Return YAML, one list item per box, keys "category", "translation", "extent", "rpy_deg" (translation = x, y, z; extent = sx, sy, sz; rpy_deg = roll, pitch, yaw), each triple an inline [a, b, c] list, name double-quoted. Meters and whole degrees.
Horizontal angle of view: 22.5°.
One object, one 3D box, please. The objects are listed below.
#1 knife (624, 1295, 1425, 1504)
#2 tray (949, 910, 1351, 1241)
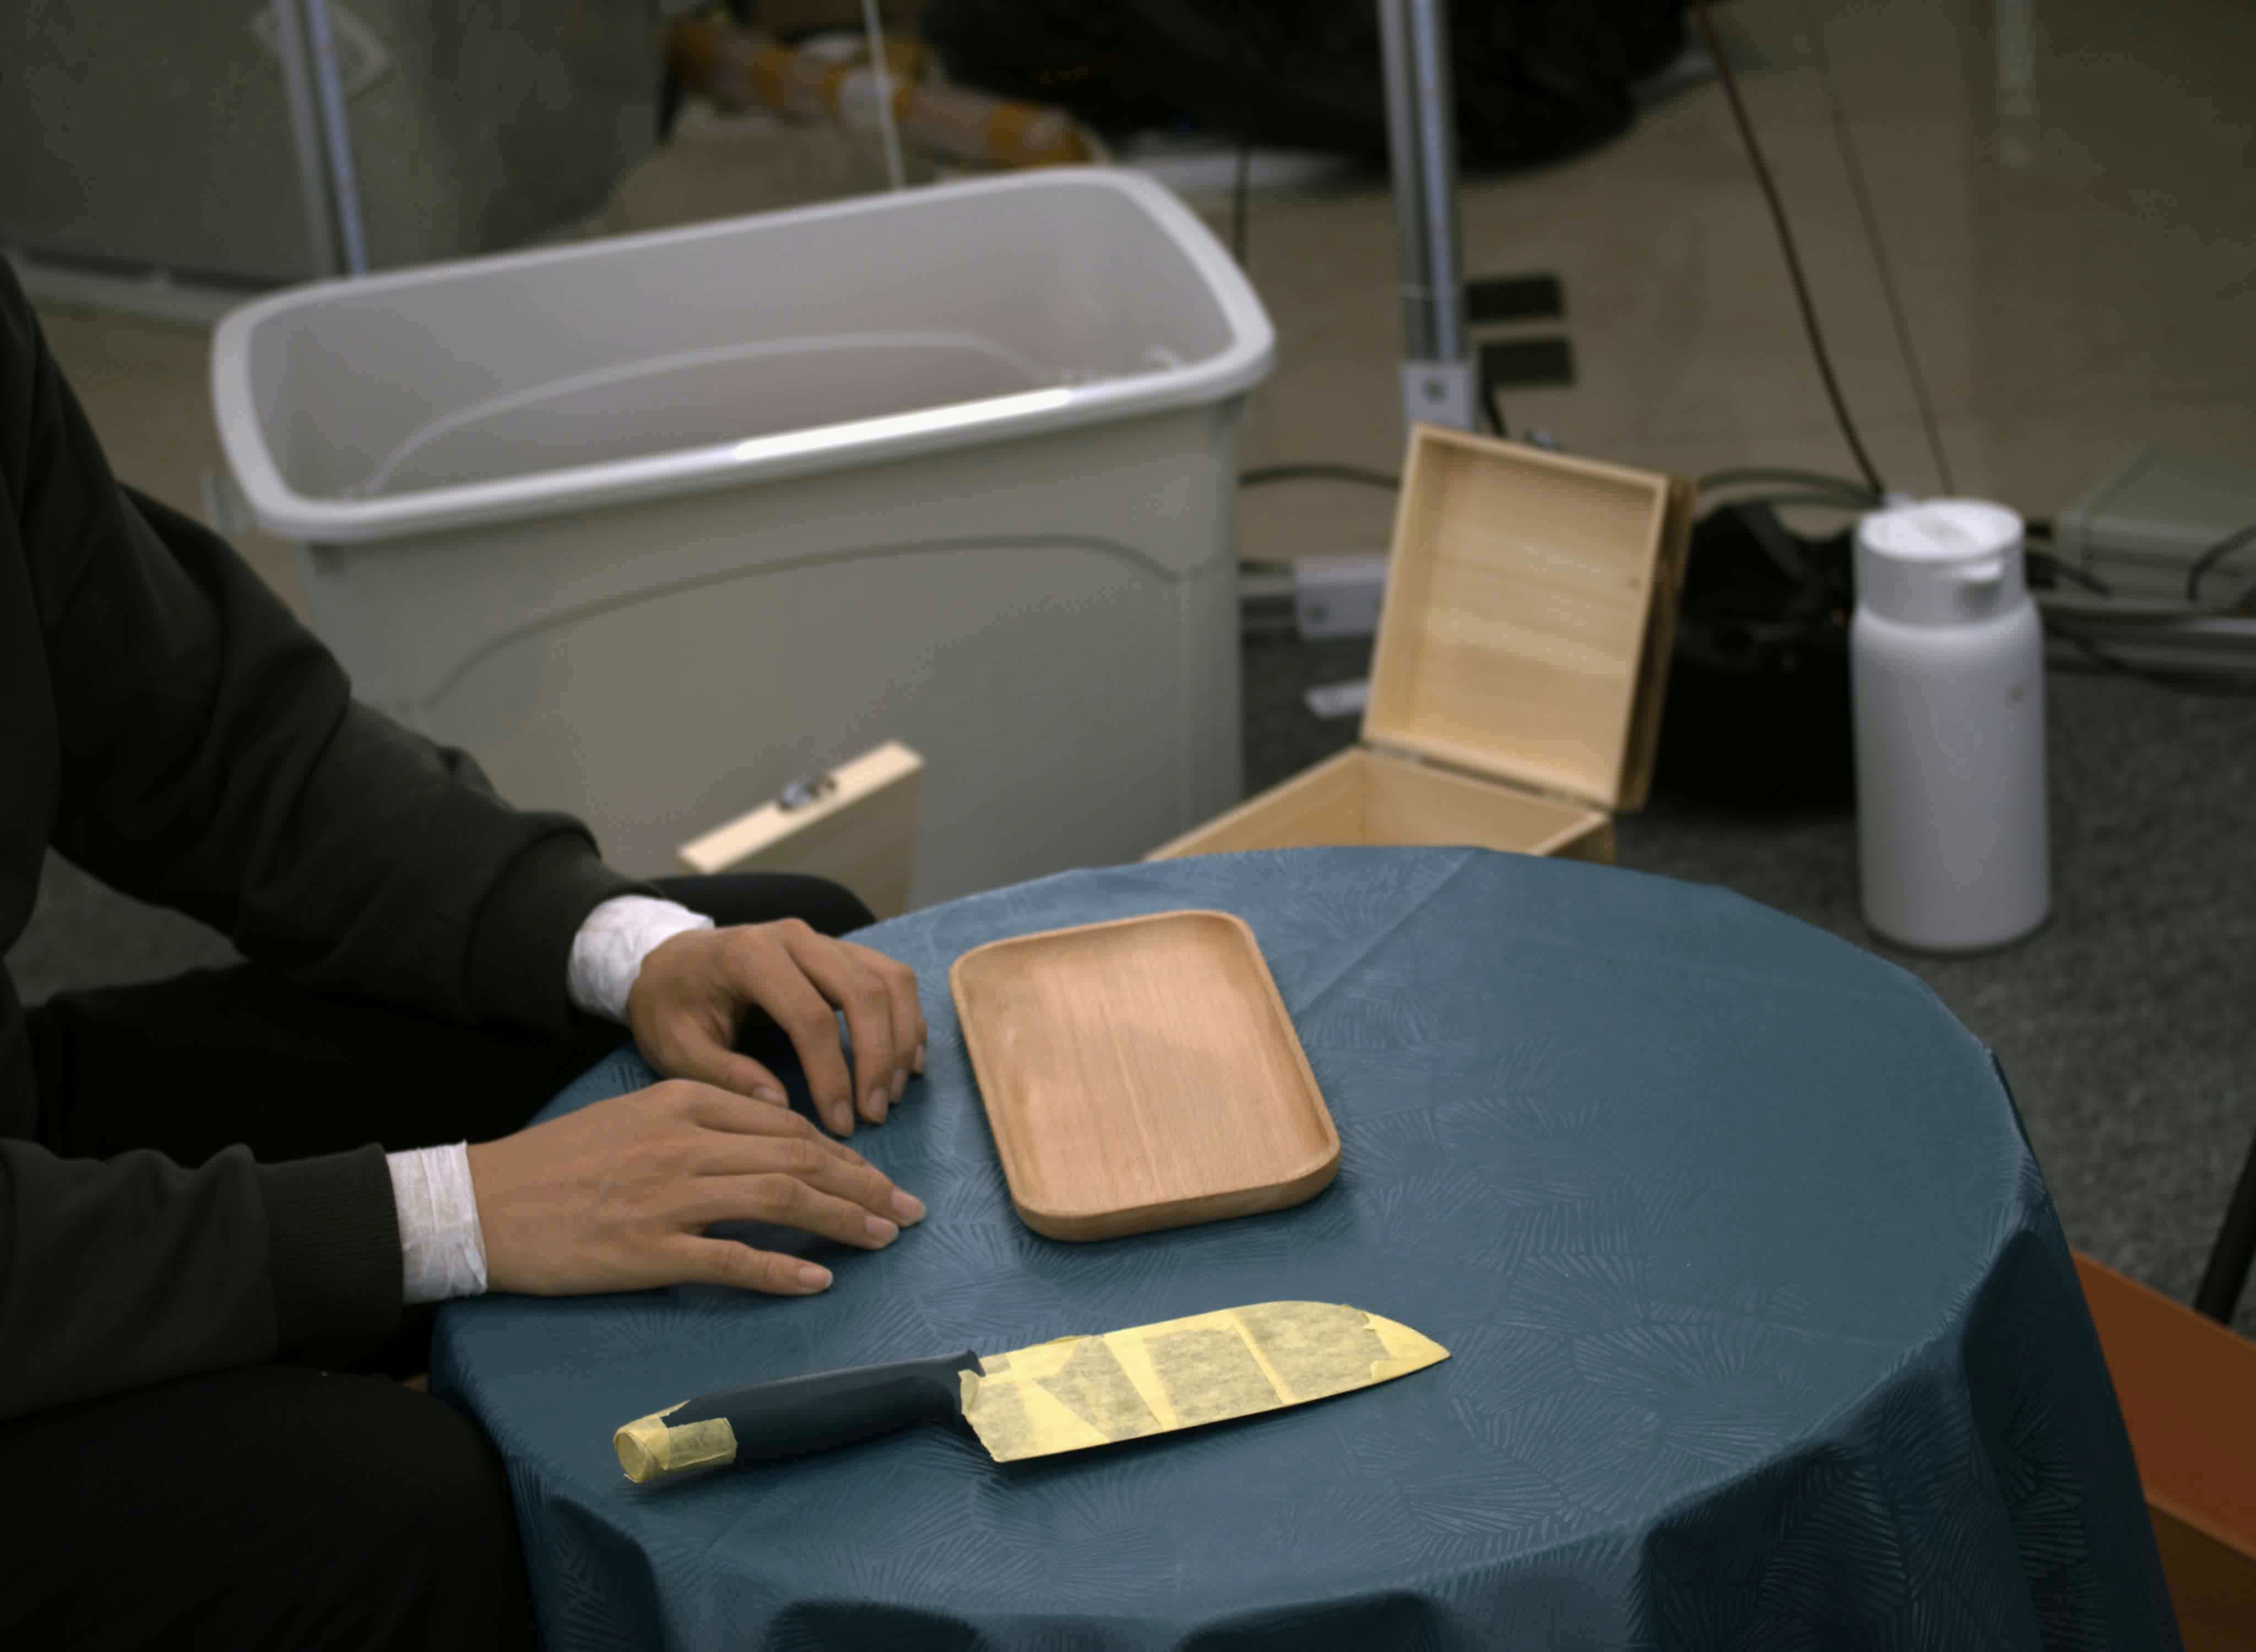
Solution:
- category: "knife"
  translation: [-0.034, 0.204, 2.003]
  extent: [0.289, 0.027, 0.080]
  rpy_deg: [-11, 24, -11]
- category: "tray"
  translation: [0.006, 0.096, 2.224]
  extent: [0.130, 0.023, 0.247]
  rpy_deg: [-12, 26, -4]
